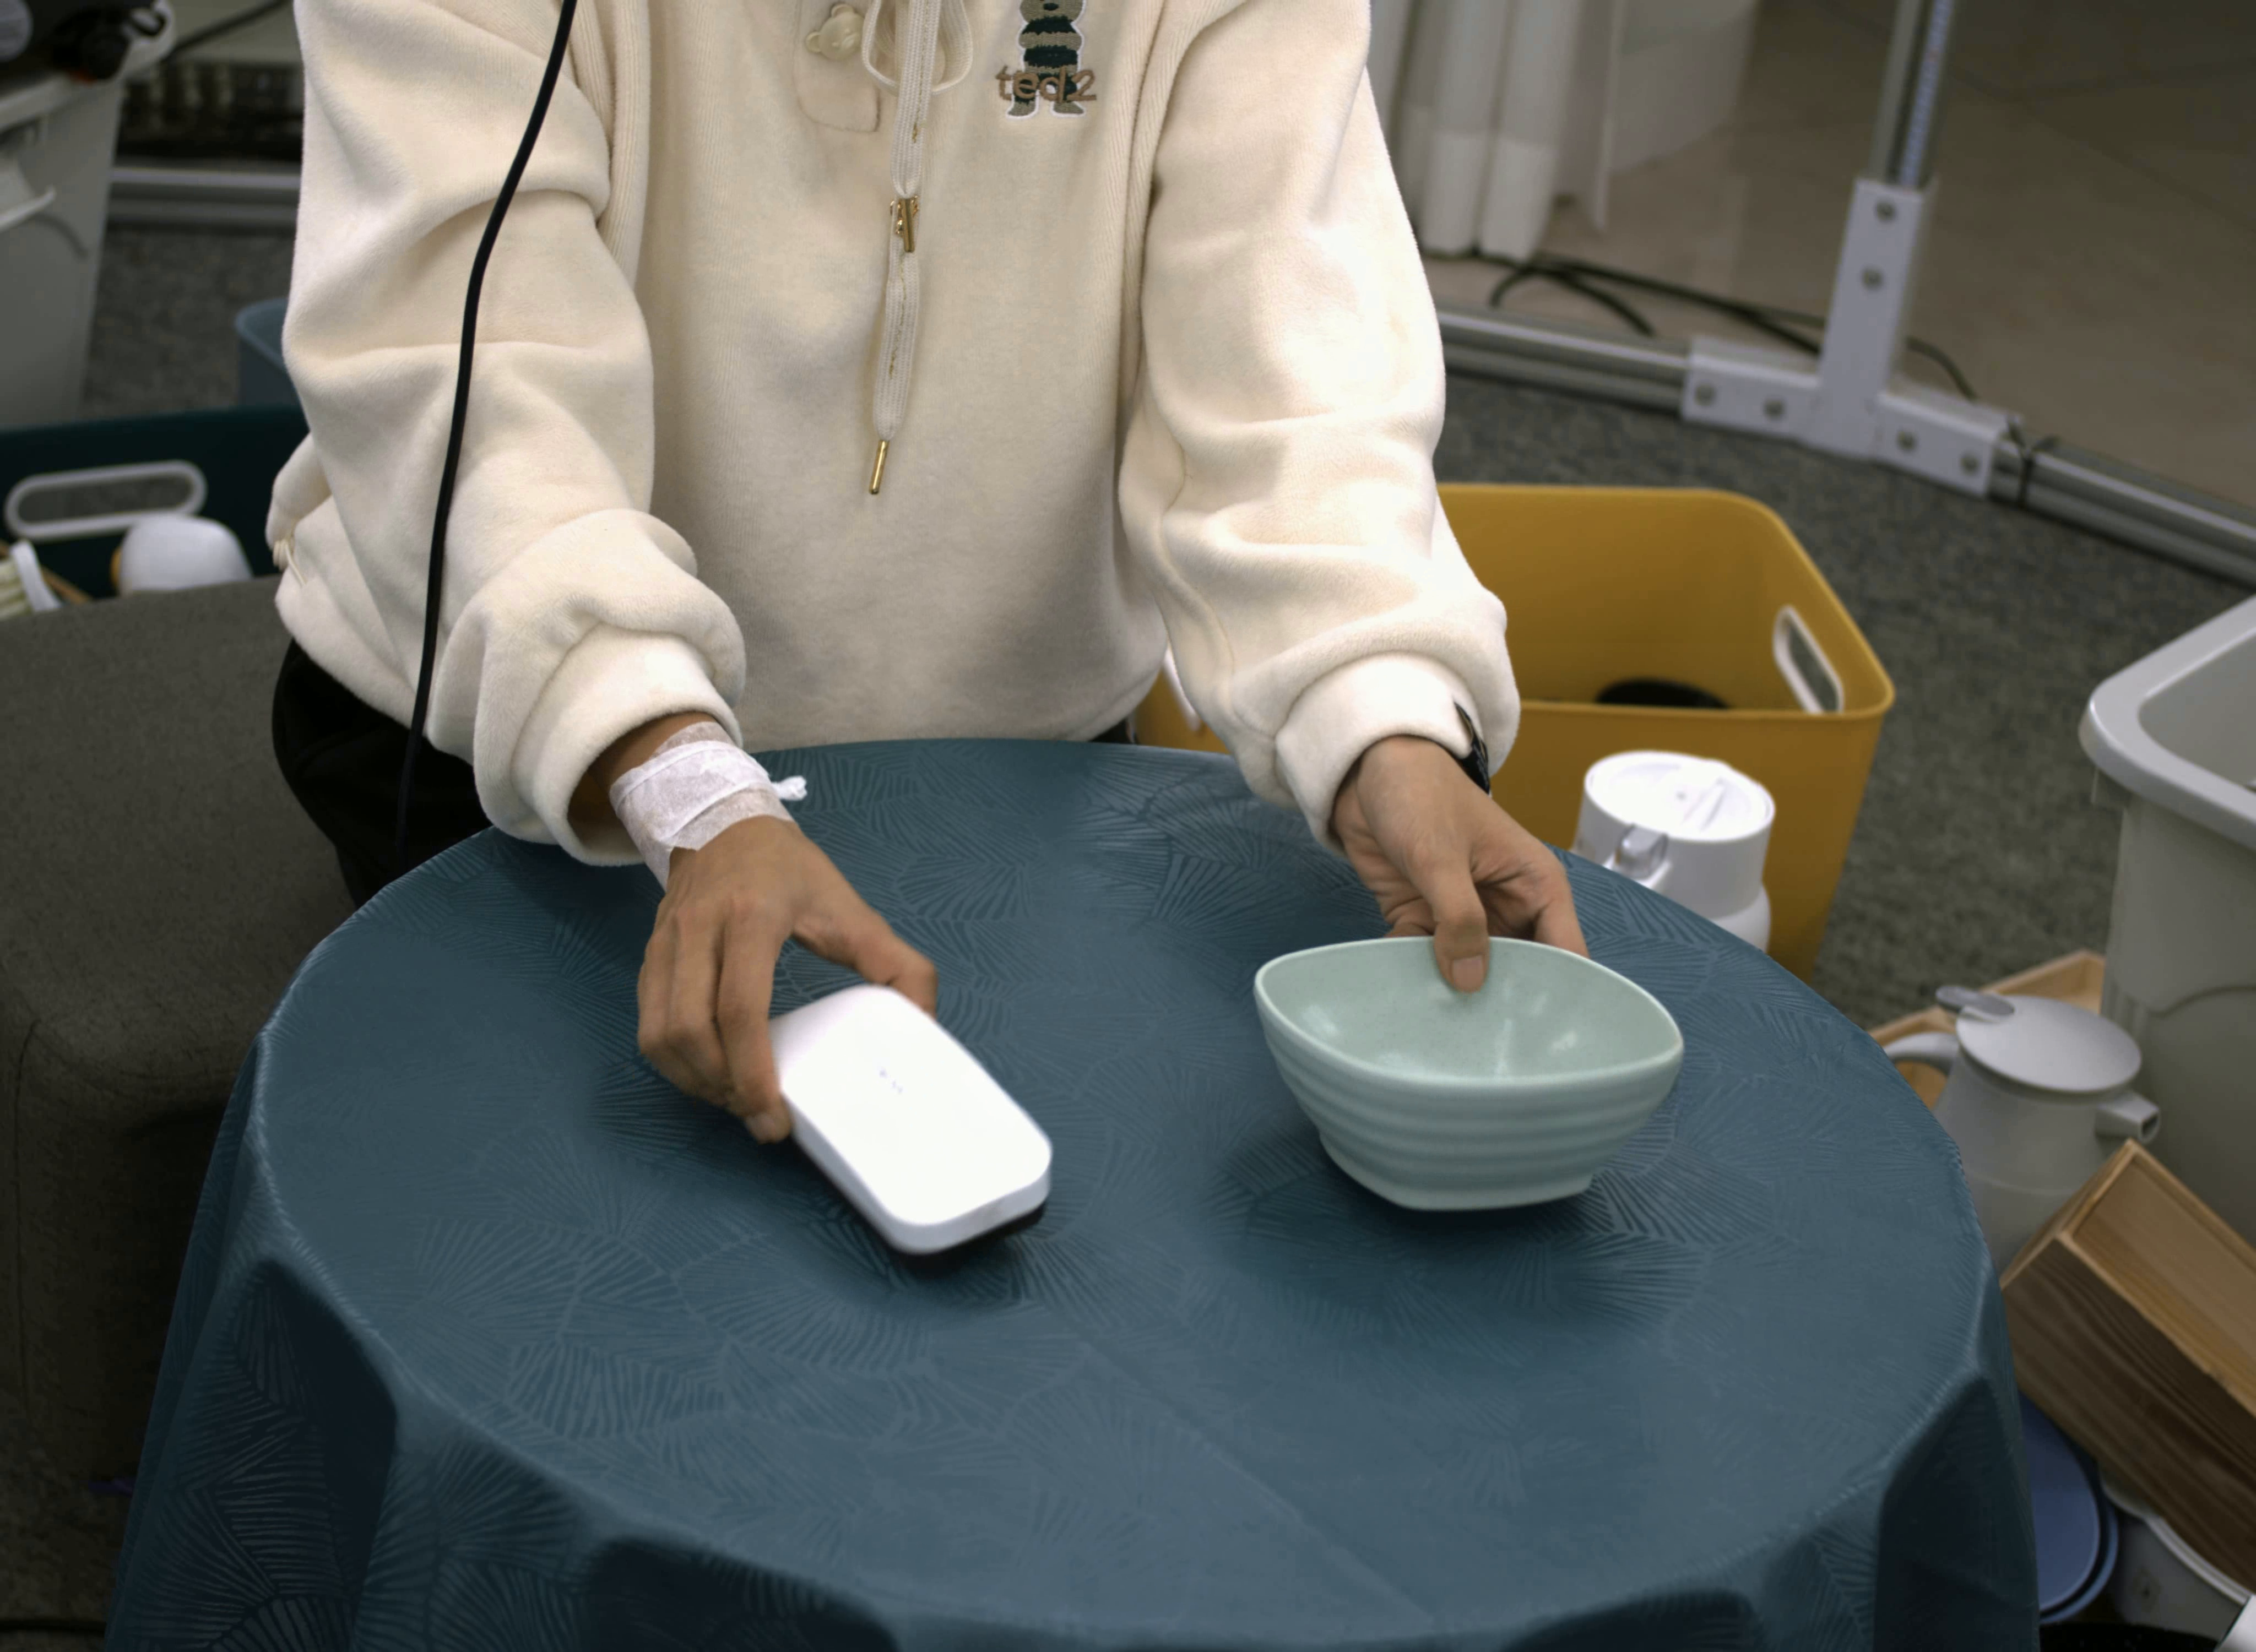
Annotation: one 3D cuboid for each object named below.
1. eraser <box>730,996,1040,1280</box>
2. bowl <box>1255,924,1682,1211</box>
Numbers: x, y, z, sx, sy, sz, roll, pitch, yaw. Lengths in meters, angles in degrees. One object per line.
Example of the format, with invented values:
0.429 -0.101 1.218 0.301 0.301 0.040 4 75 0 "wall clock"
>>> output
-0.081 0.101 1.778 0.063 0.034 0.132 -20 38 -22 "eraser"
0.111 0.088 1.820 0.151 0.058 0.152 8 21 -3 "bowl"
